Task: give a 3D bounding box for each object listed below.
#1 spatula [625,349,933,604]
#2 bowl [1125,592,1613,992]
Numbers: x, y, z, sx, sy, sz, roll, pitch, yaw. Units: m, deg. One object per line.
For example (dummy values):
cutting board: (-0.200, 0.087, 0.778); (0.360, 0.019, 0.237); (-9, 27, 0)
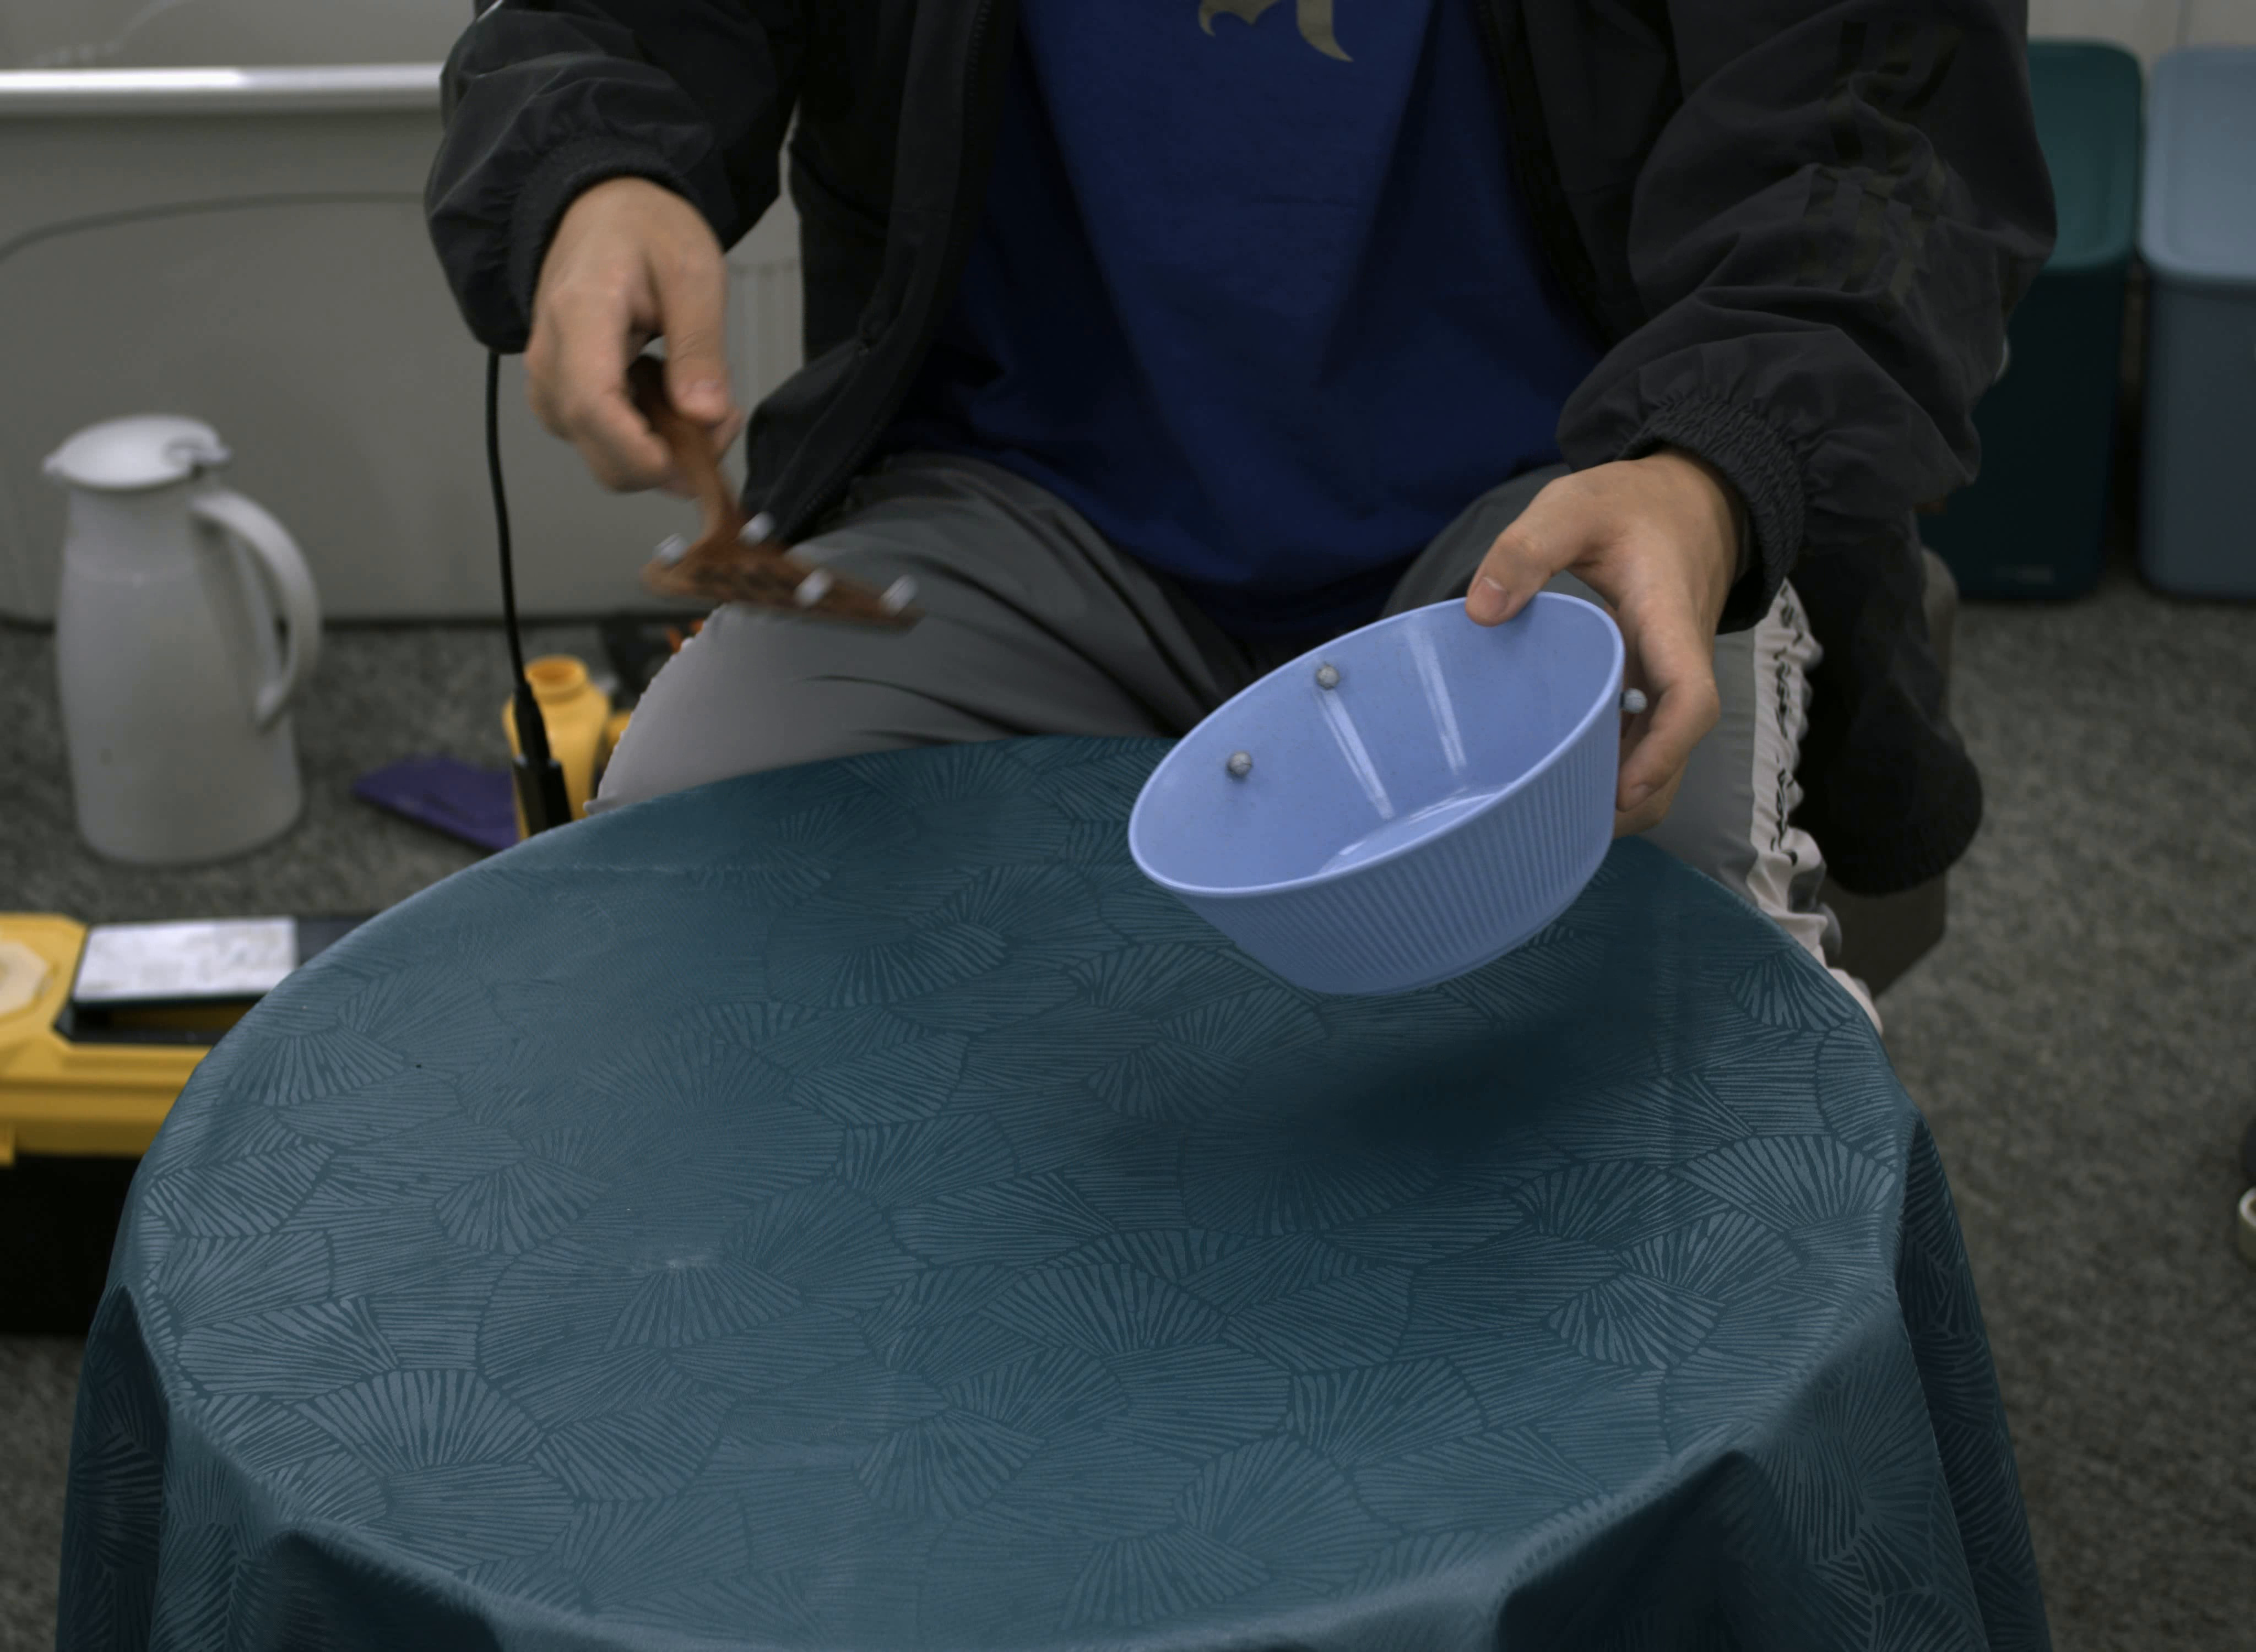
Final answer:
spatula: (-0.140, -0.119, 1.940); (0.085, 0.024, 0.389); (6, 15, -14)
bowl: (0.091, -0.003, 1.859); (0.175, 0.070, 0.178); (-21, 22, 9)
